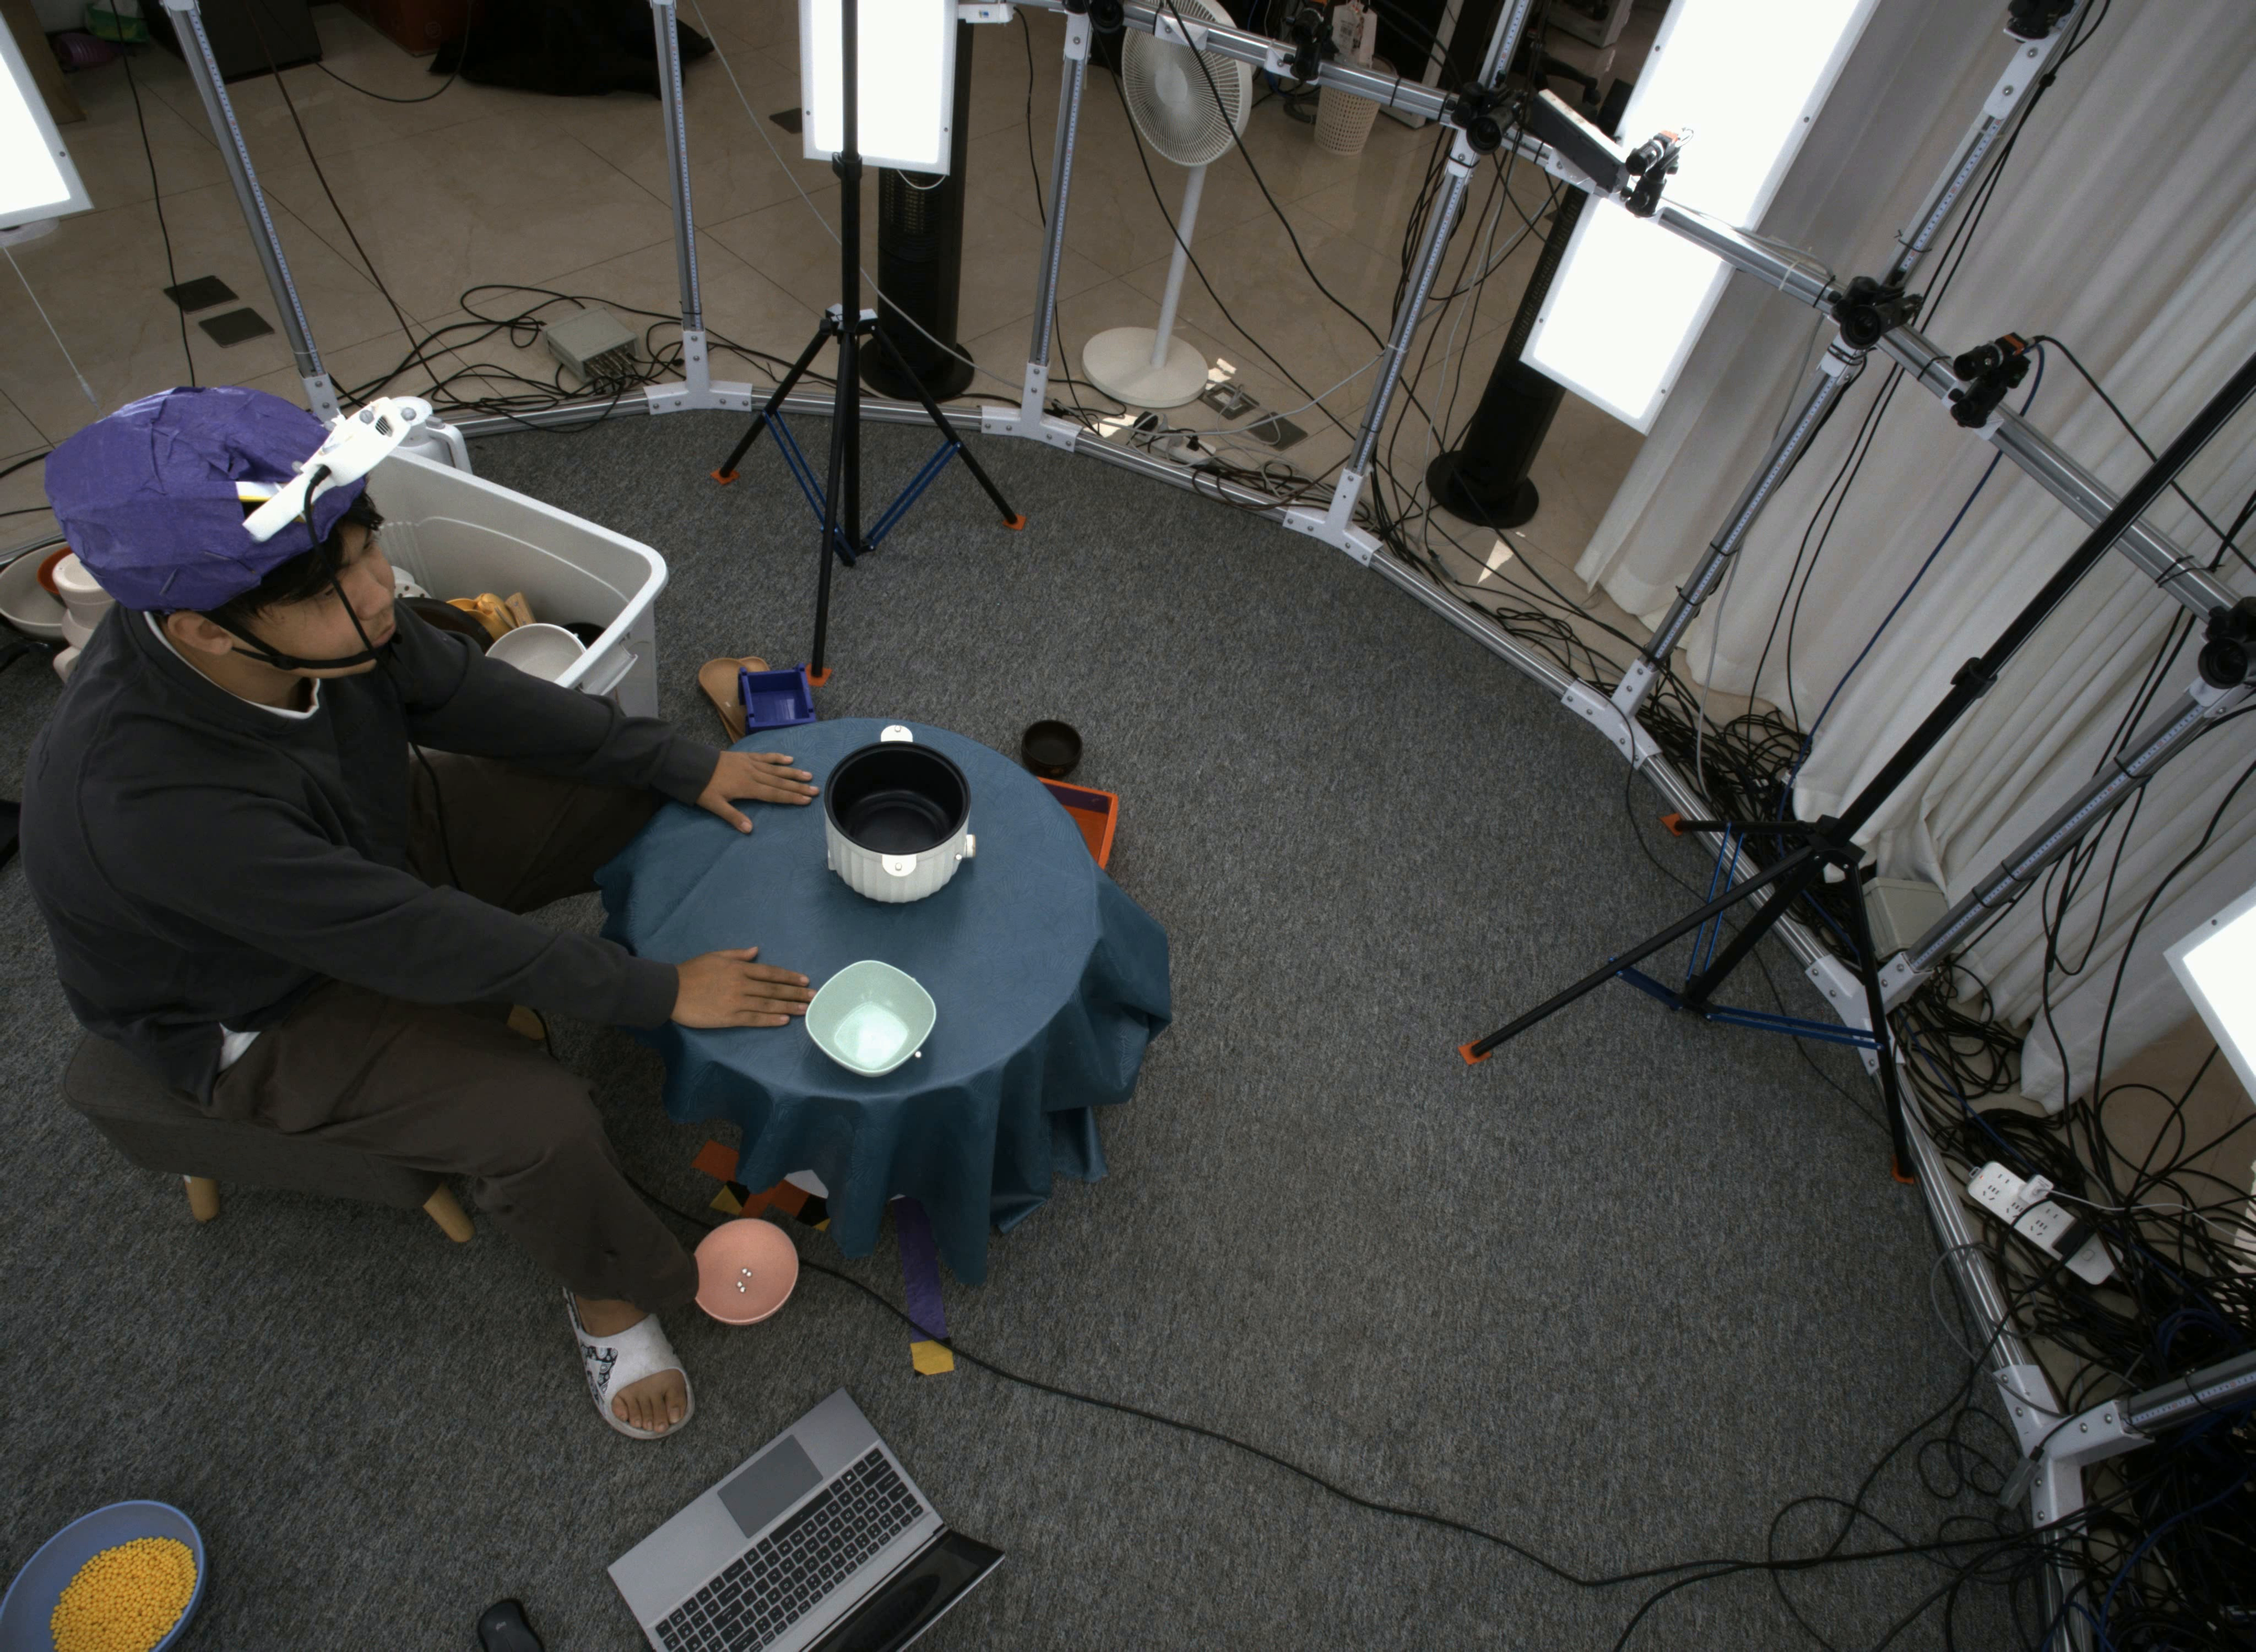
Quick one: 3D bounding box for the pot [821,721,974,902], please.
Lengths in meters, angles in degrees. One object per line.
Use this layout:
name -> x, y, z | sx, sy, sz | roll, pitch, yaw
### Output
pot -> -0.292, -0.003, 1.664 | 0.190, 0.146, 0.235 | -3, 56, -11

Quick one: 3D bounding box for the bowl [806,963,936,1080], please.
bowl -> -0.303, 0.238, 1.536 | 0.151, 0.060, 0.148 | 8, 51, -9
